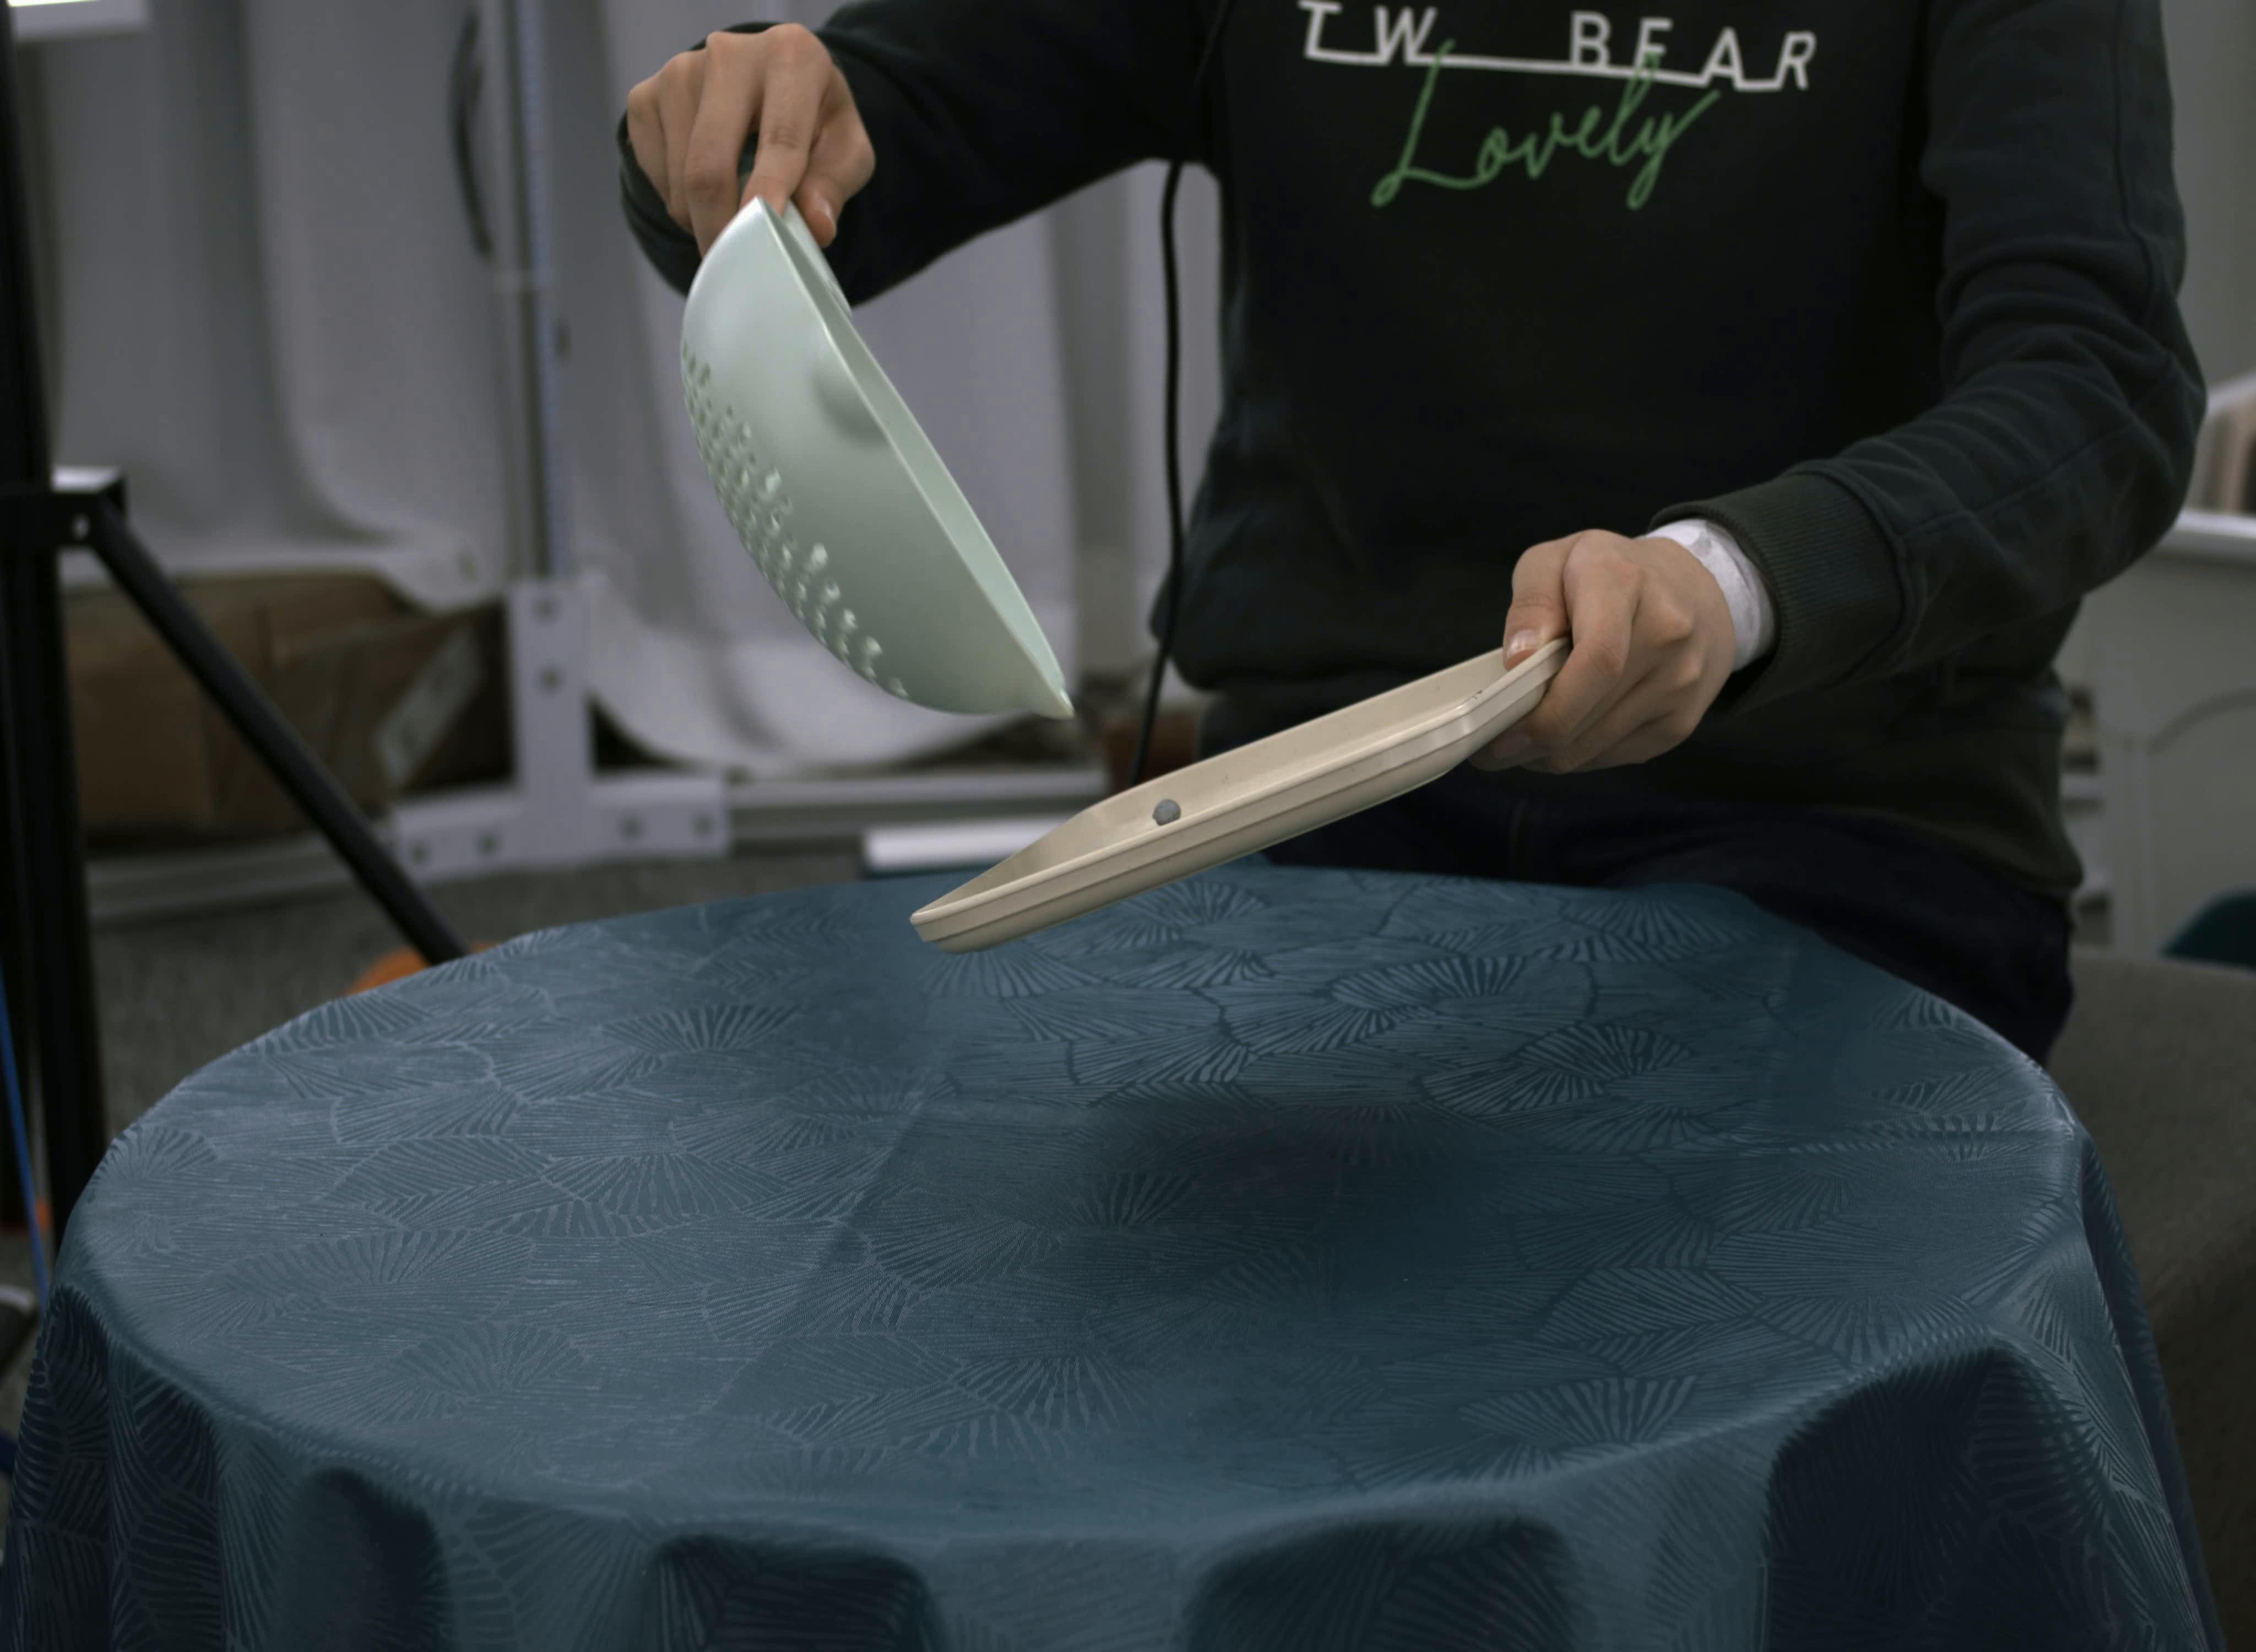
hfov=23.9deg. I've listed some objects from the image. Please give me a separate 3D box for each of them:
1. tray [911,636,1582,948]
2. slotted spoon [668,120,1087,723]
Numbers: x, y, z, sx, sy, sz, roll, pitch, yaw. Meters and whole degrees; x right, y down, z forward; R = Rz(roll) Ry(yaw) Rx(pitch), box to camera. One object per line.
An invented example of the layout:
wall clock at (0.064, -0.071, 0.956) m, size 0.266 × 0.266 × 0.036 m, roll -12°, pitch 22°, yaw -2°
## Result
tray at (0.040, -0.010, 1.531) m, size 0.172 × 0.017 × 0.237 m, roll -21°, pitch 2°, yaw 17°
slotted spoon at (-0.096, -0.148, 1.631) m, size 0.075 × 0.166 × 0.363 m, roll -27°, pitch 32°, yaw 9°
